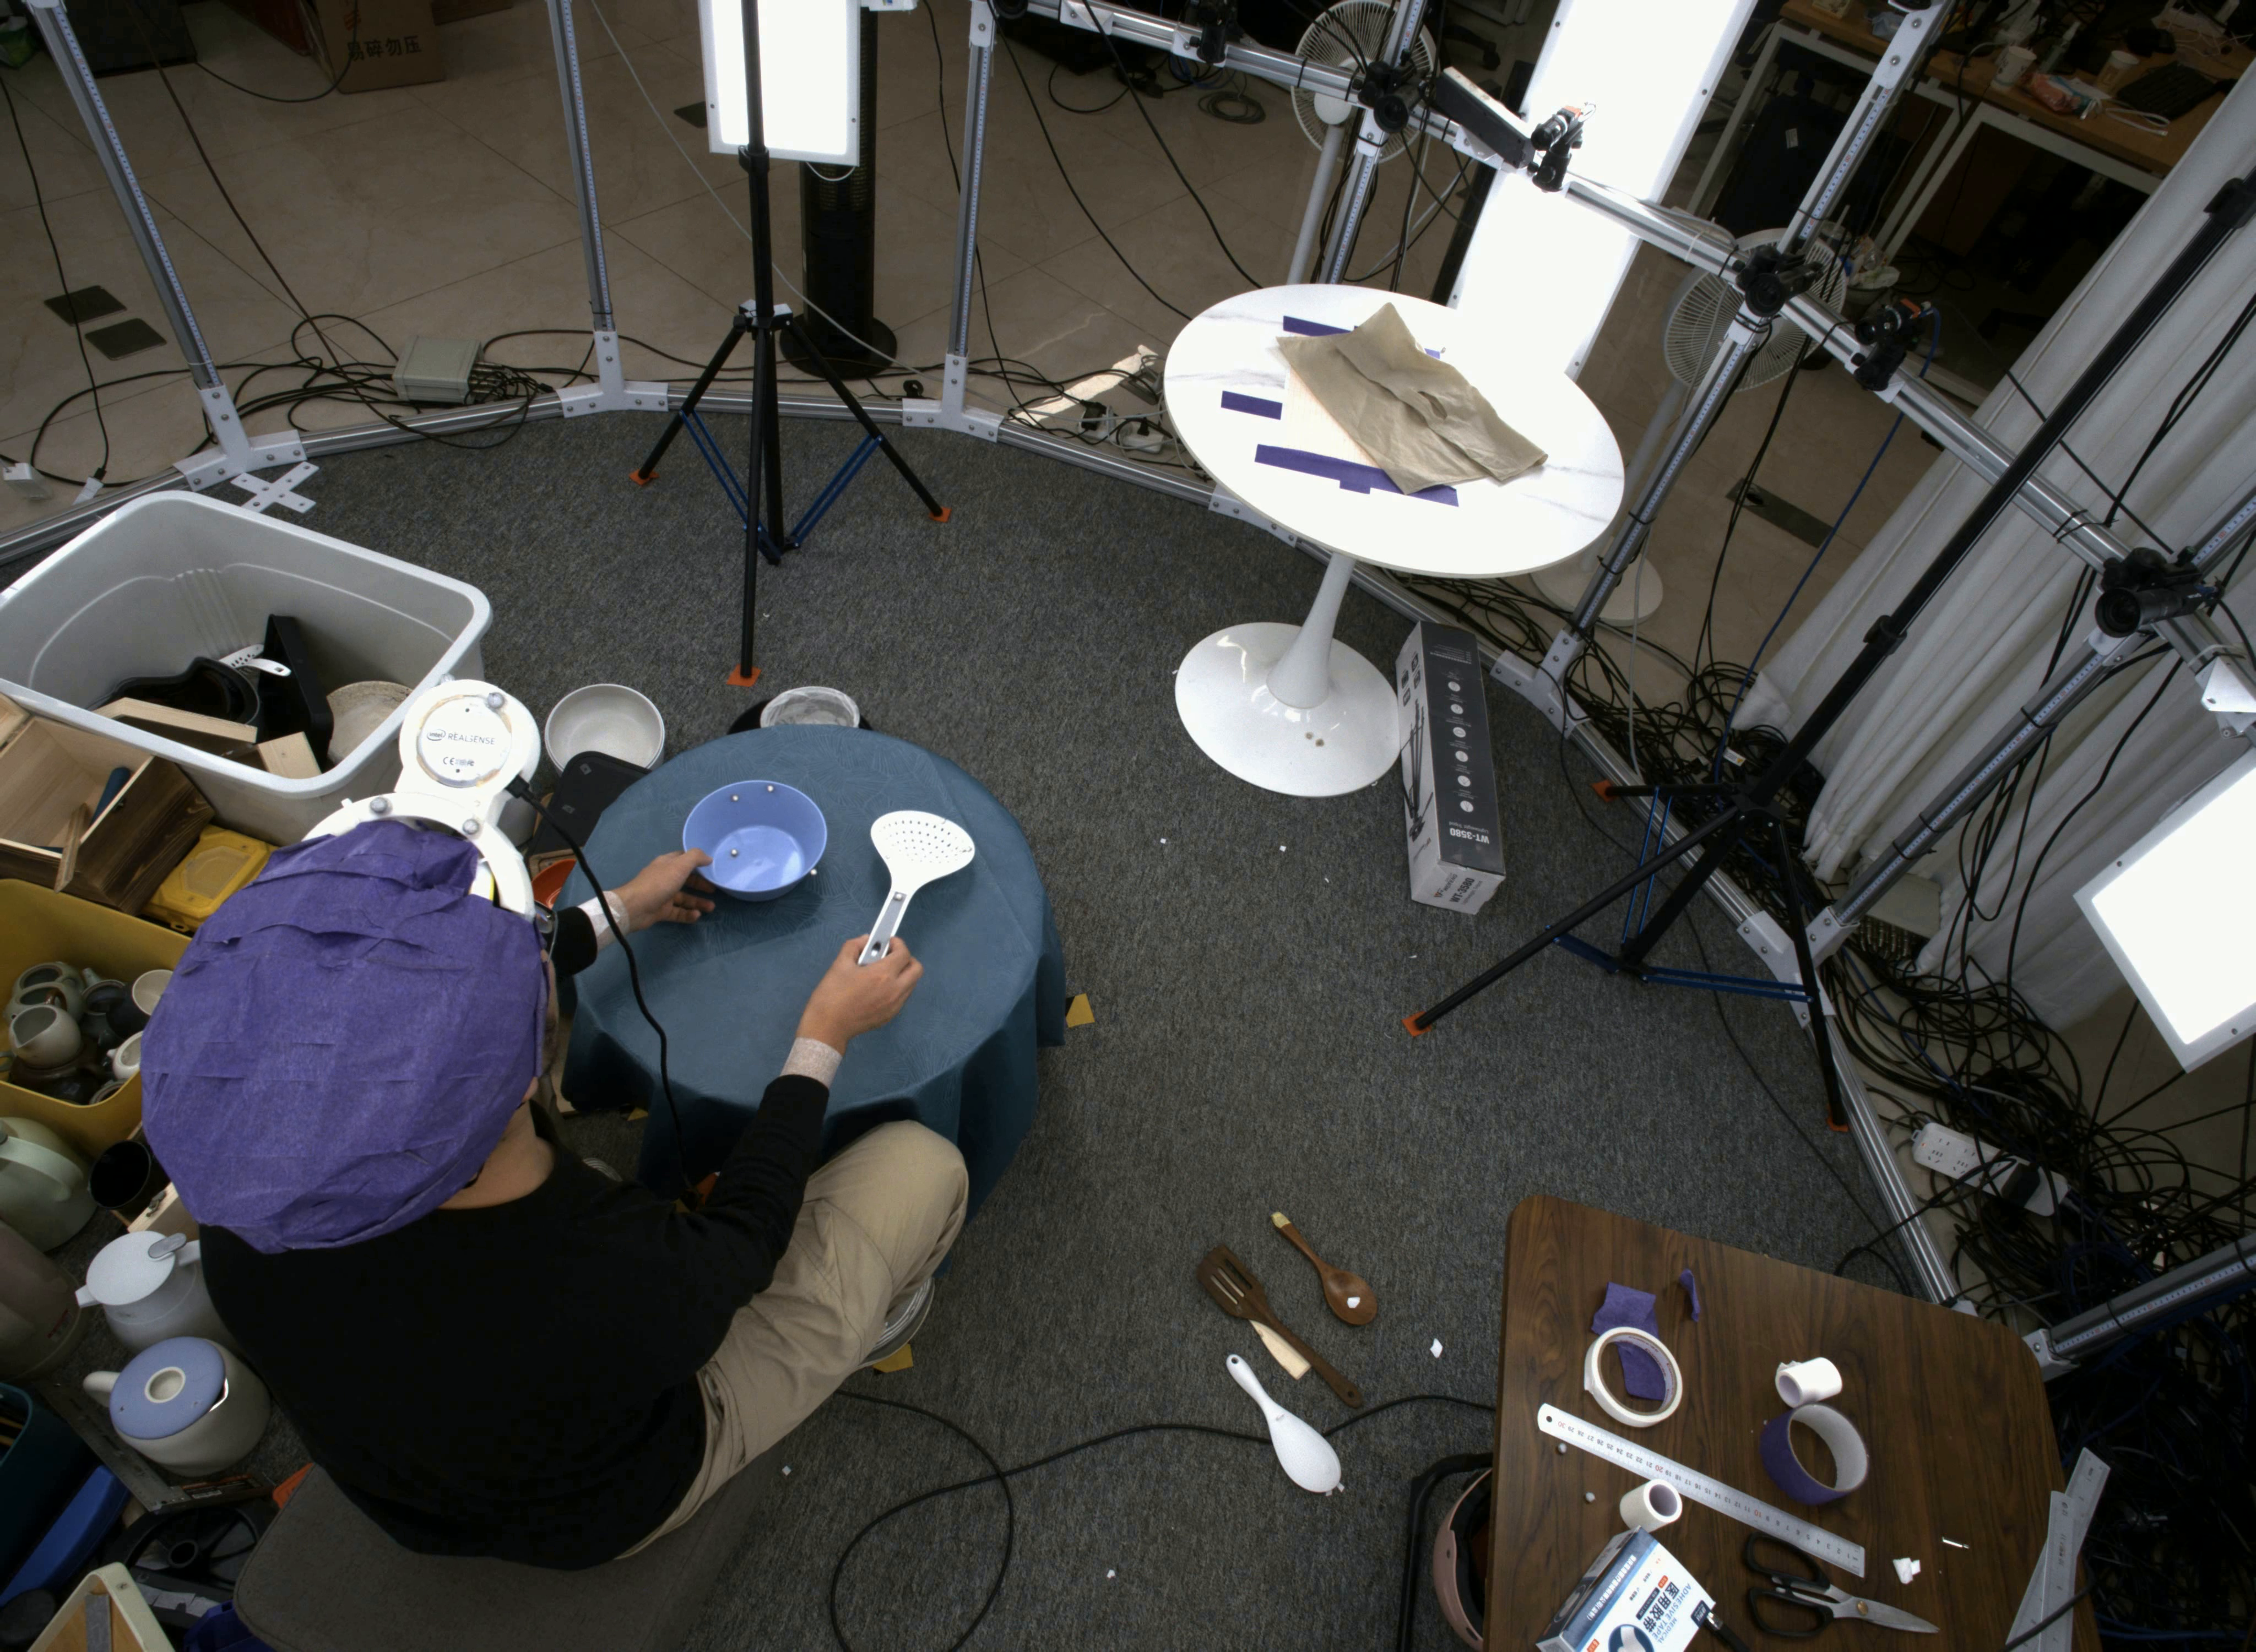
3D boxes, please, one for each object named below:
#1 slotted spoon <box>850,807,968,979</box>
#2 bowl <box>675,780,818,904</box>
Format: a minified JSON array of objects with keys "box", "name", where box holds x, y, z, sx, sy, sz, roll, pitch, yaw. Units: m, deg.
[{"box":[-0.285,0.075,1.607,0.136,0.046,0.343,18,26,-6],"name":"slotted spoon"},{"box":[-0.480,0.030,1.636,0.175,0.072,0.173,7,53,-8],"name":"bowl"}]
